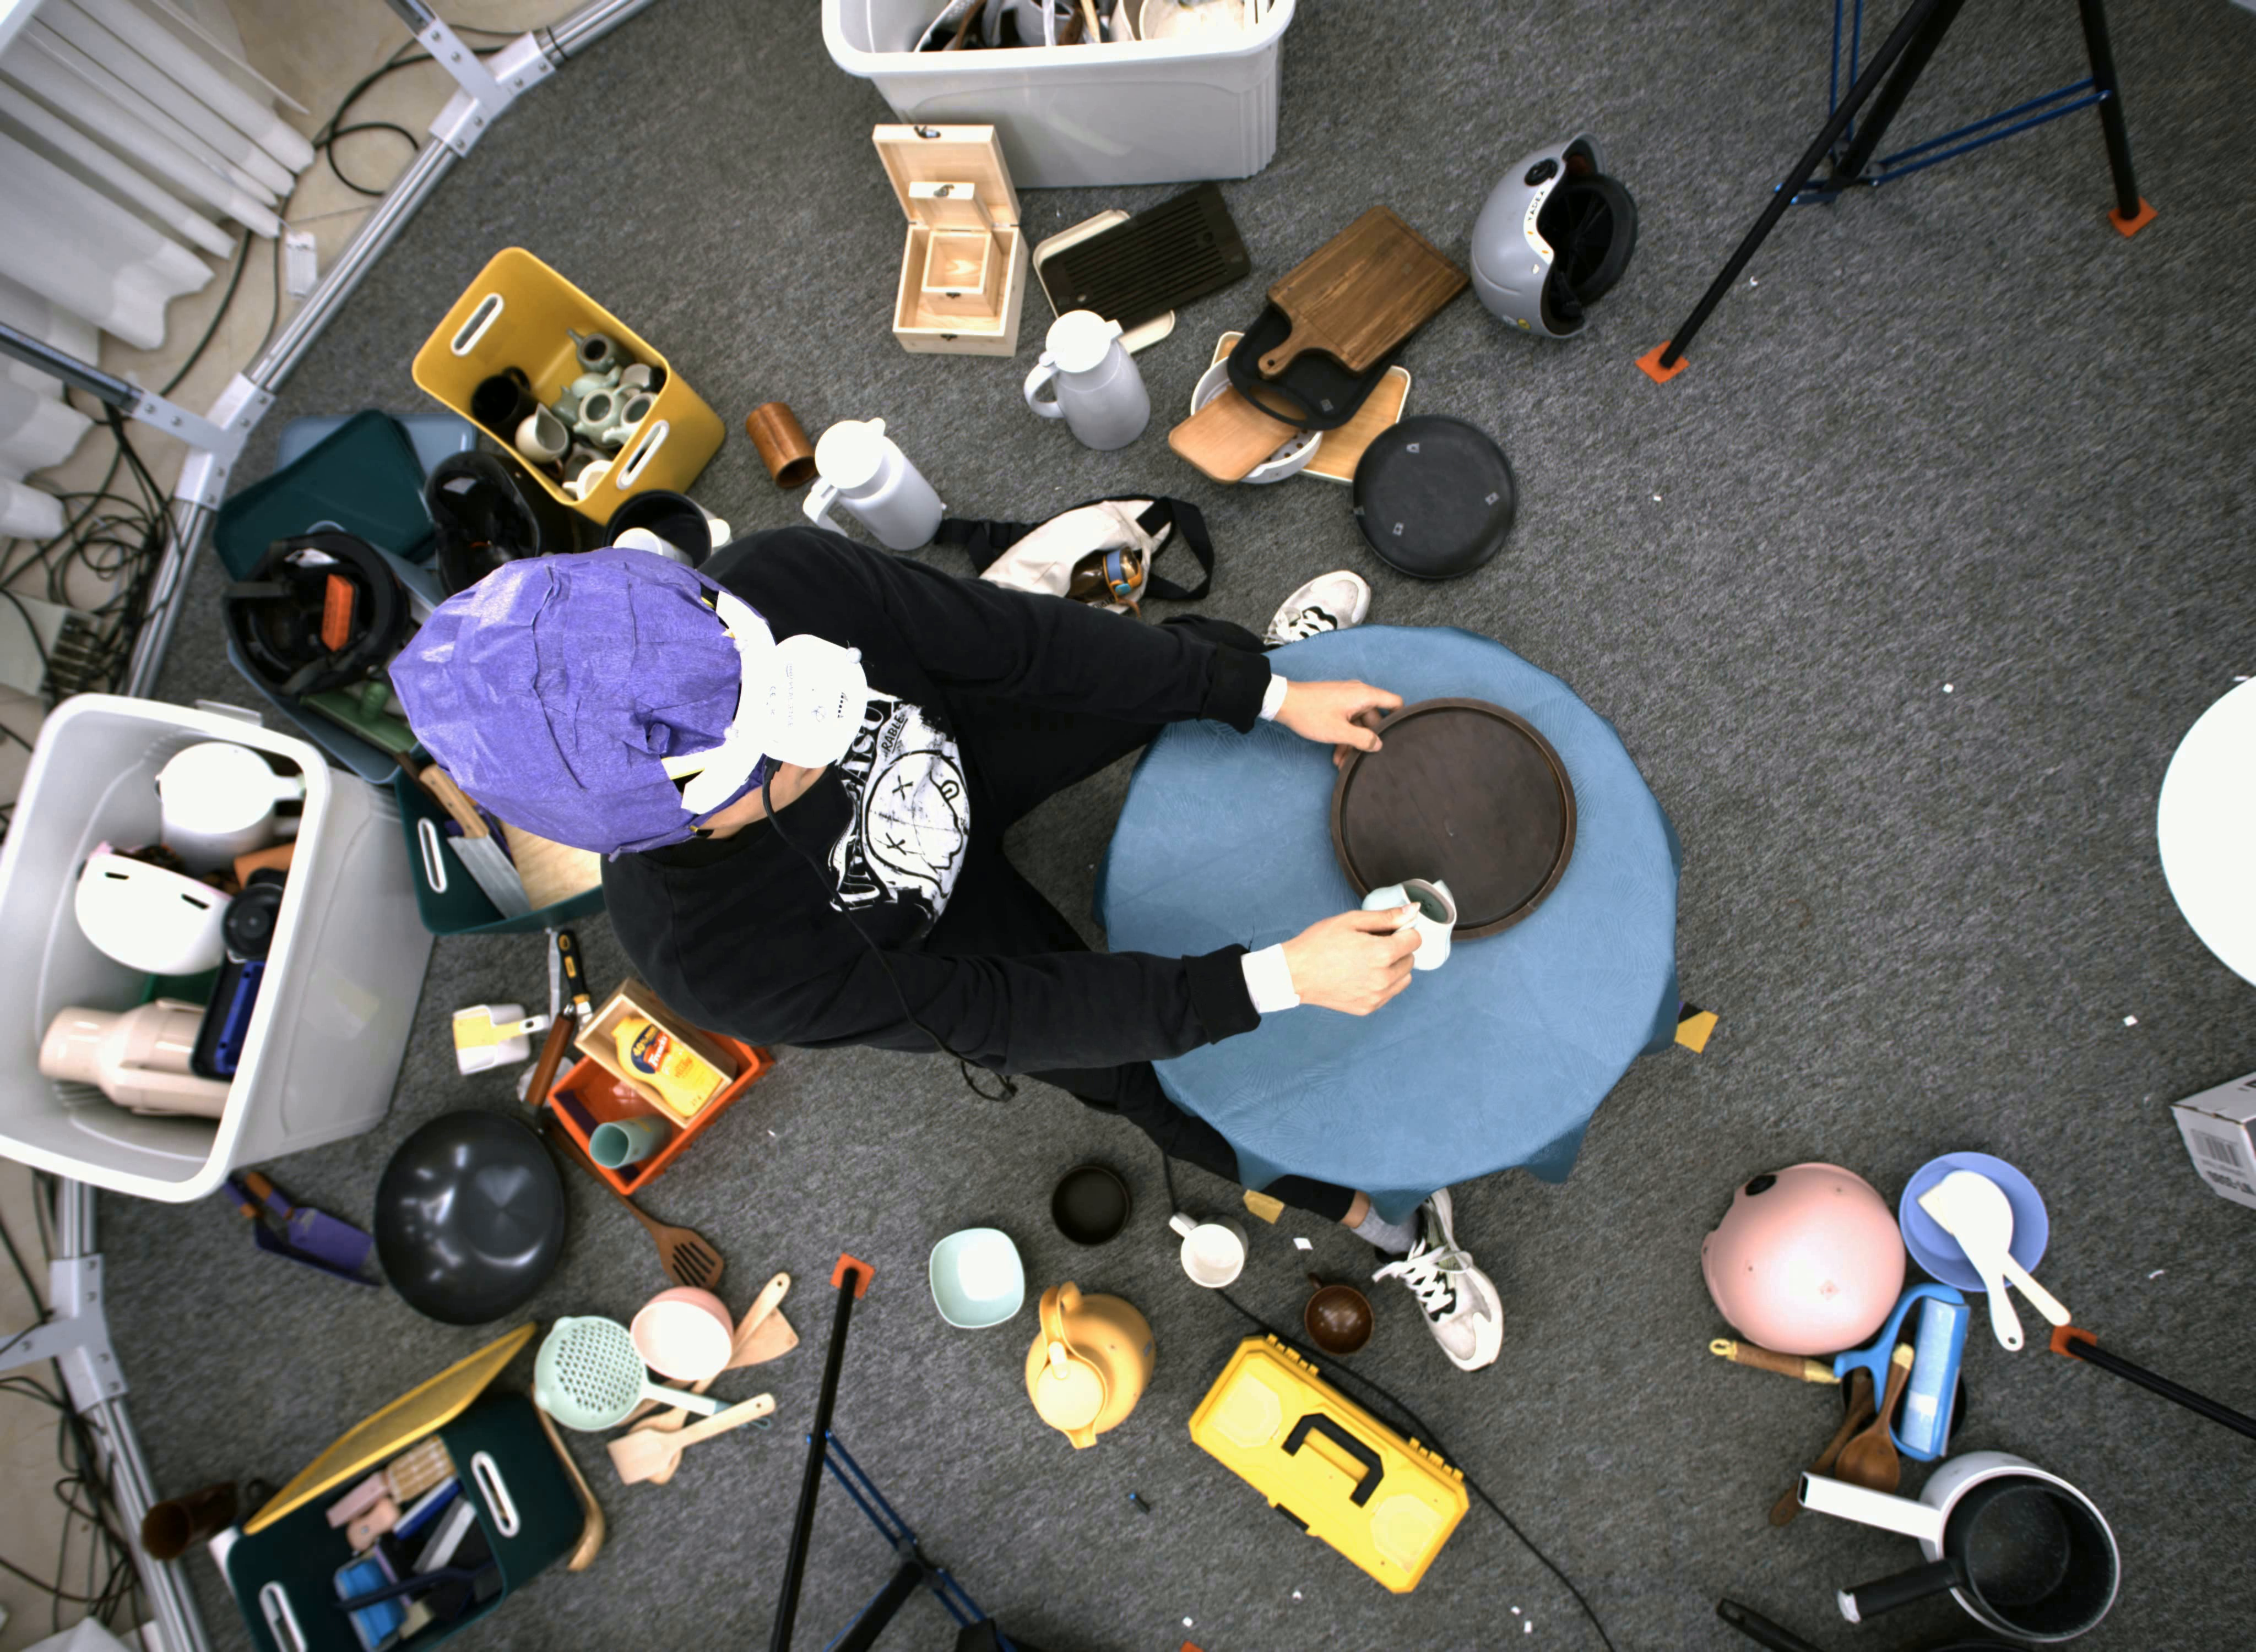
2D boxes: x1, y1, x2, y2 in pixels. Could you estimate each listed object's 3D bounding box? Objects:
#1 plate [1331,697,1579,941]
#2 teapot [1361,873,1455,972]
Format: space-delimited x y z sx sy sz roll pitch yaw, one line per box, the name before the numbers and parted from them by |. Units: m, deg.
plate | 0.337 -0.009 1.427 0.255 0.029 0.255 0 93 6
teapot | 0.271 0.091 1.318 0.096 0.134 0.063 41 125 9
